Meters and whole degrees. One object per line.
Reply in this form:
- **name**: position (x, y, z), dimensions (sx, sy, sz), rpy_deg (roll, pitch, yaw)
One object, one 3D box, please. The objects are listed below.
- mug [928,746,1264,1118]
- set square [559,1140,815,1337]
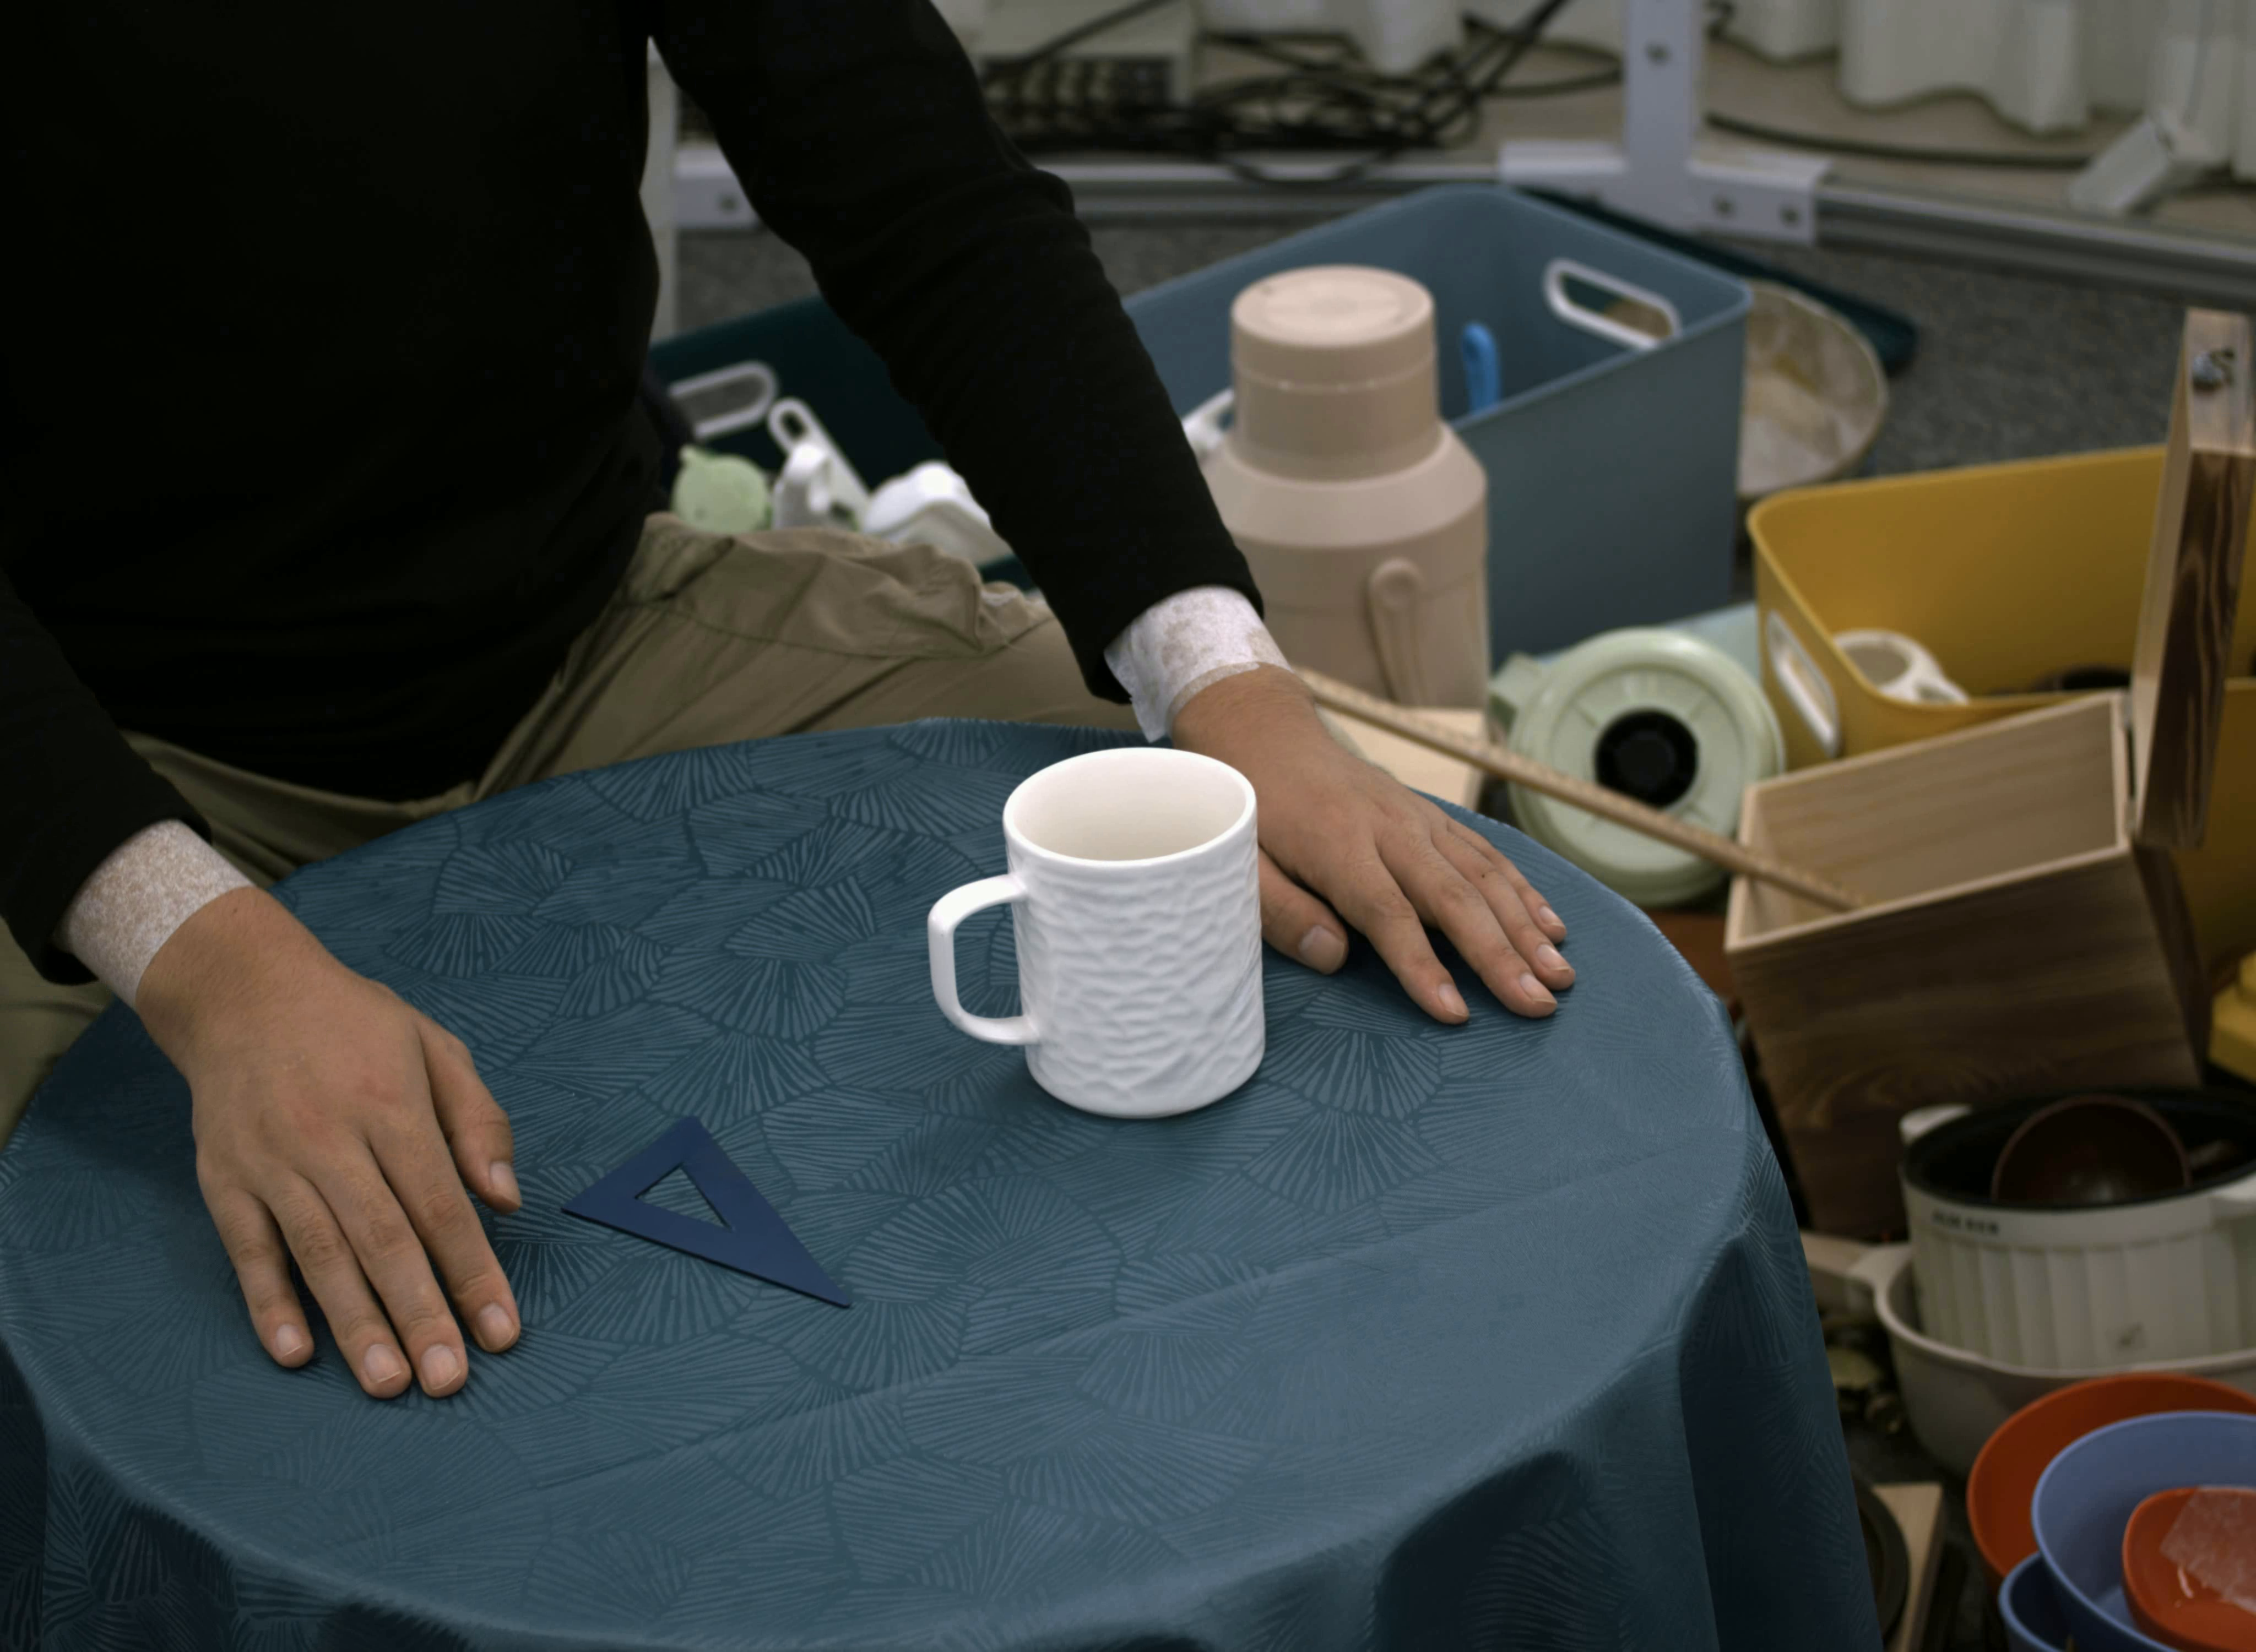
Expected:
- **mug**: position (-0.011, 0.041, 1.909), dimensions (0.119, 0.101, 0.085), rpy_deg (-14, 29, -21)
- **set square**: position (-0.147, 0.139, 1.838), dimensions (0.061, 0.006, 0.133), rpy_deg (-11, 28, -18)
